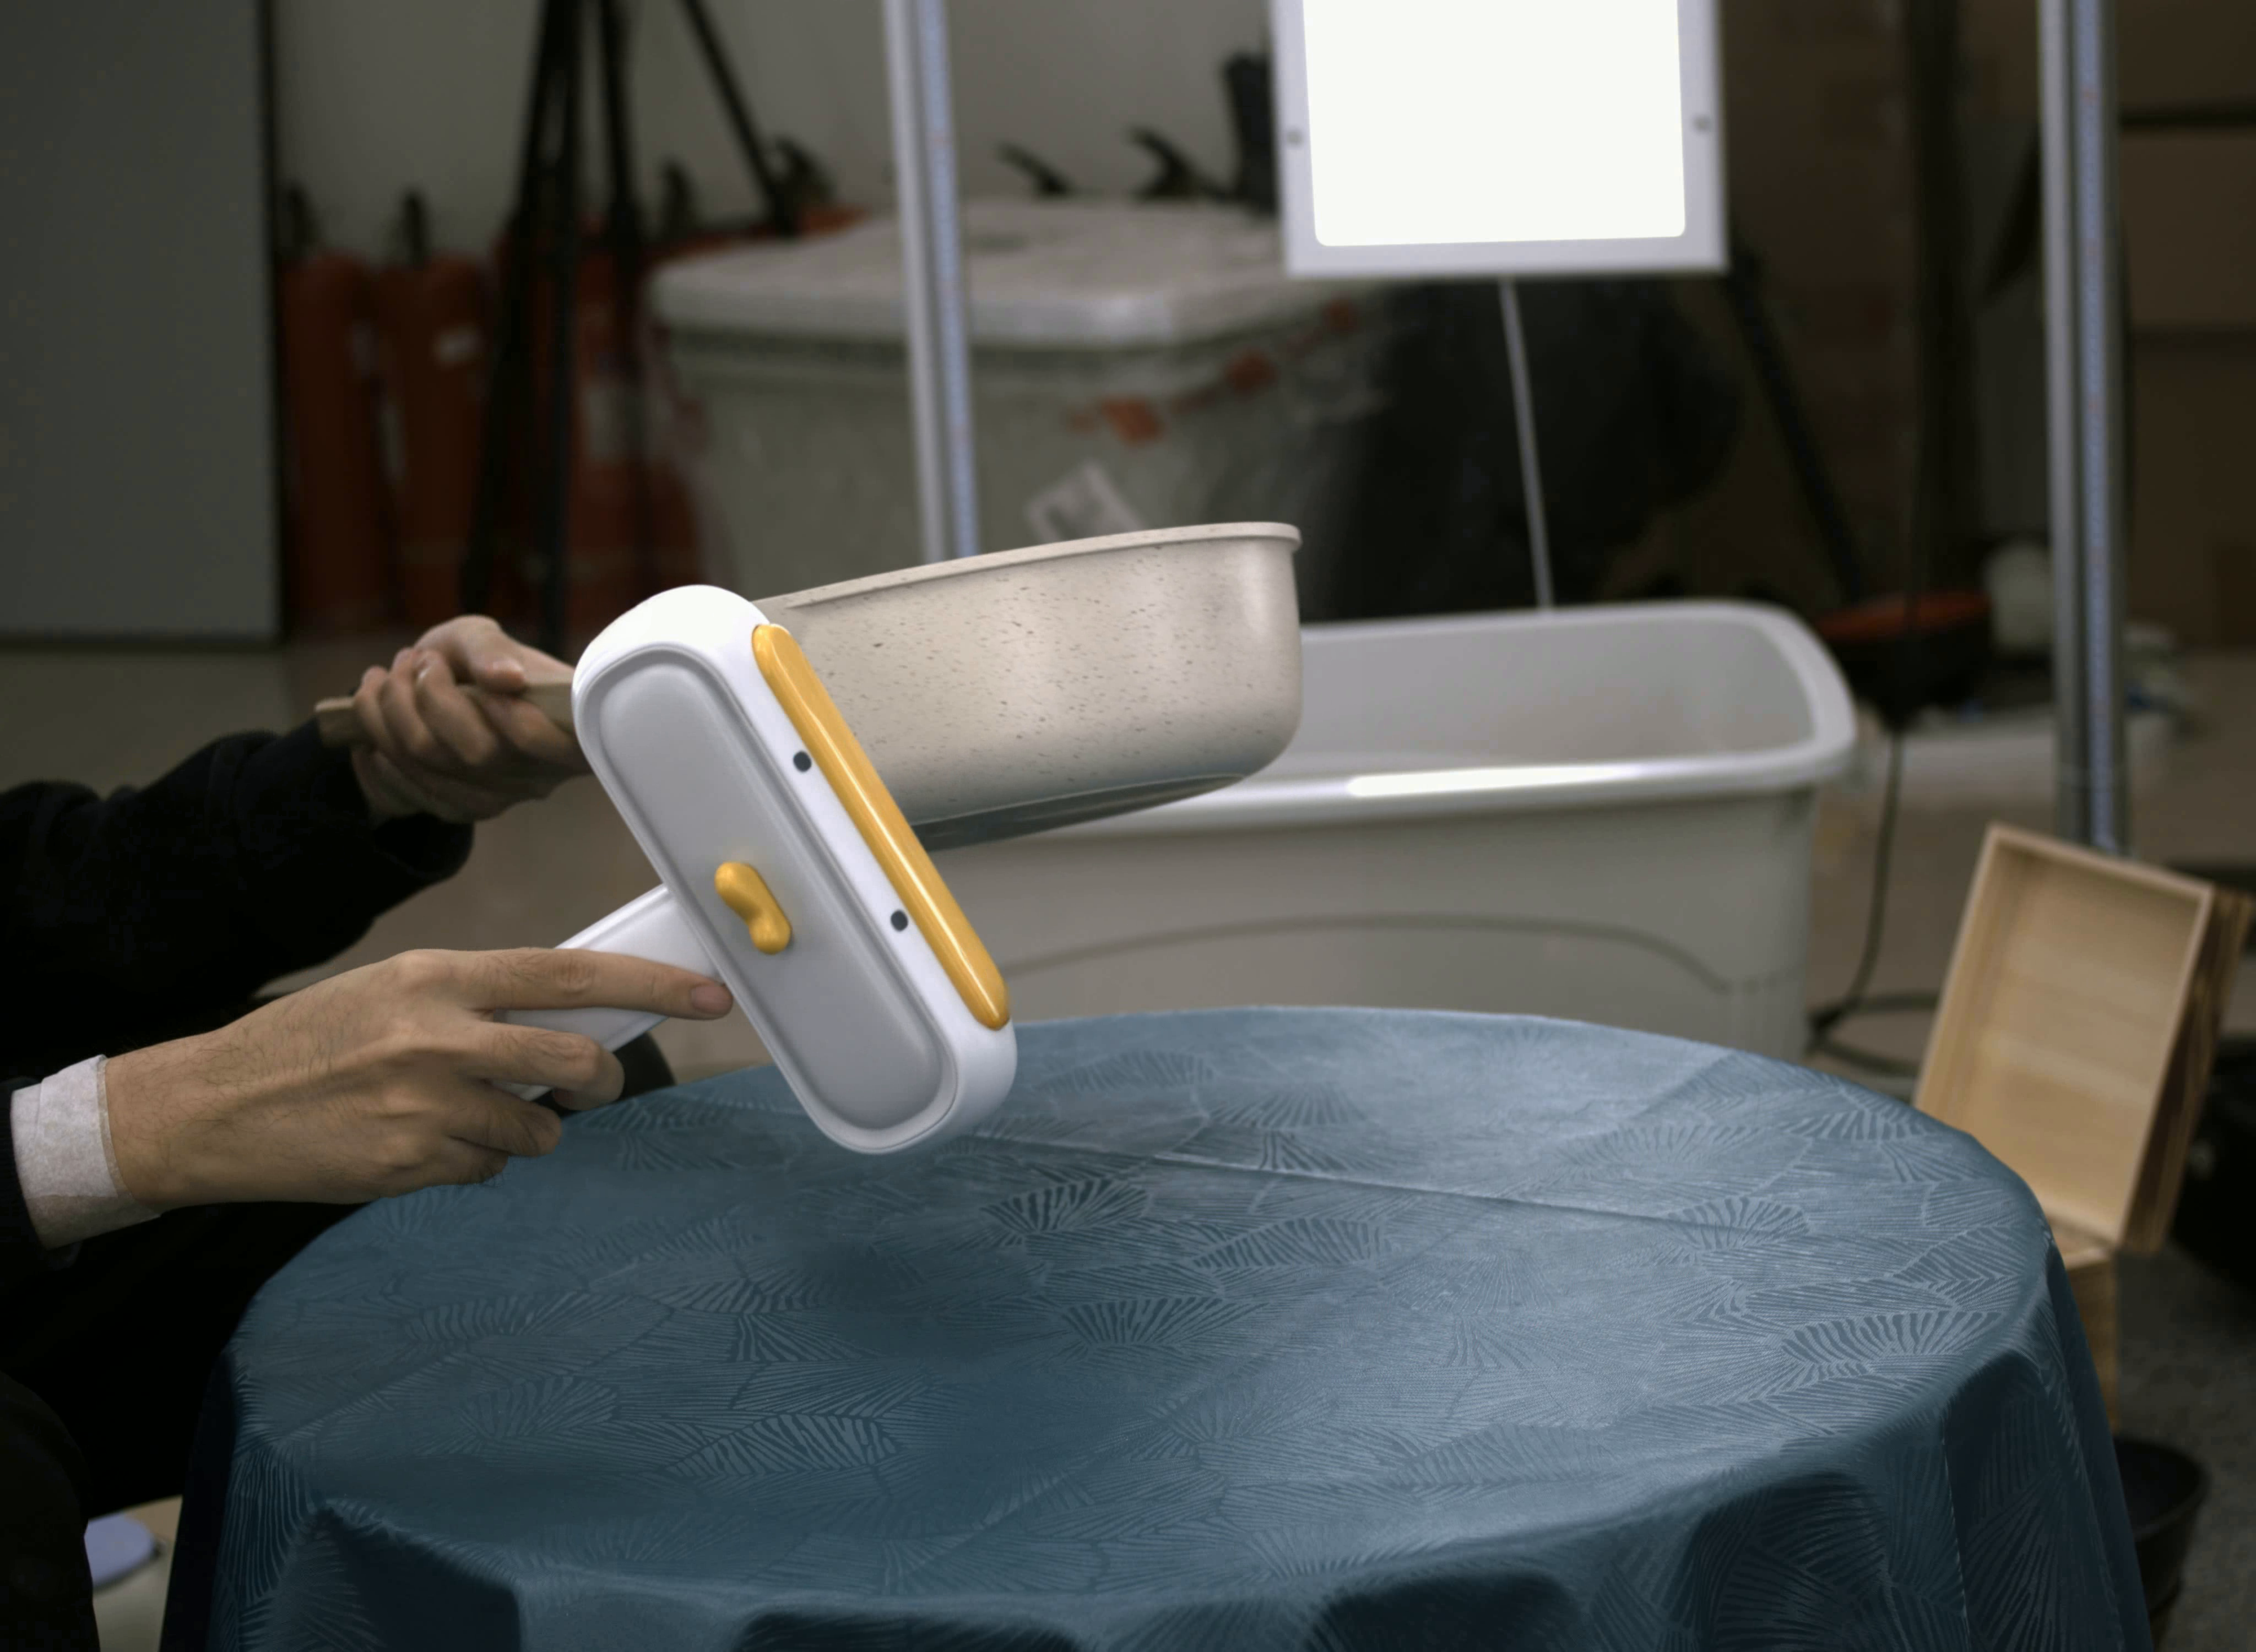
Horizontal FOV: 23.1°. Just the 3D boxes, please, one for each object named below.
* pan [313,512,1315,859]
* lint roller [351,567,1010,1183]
[{"bbox_3d":[-0.125,-0.030,1.968,0.444,0.102,0.257,-13,-2,39],"label":"pan"},{"bbox_3d":[-0.156,0.043,1.708,0.194,0.192,0.073,-33,11,17],"label":"lint roller"}]
